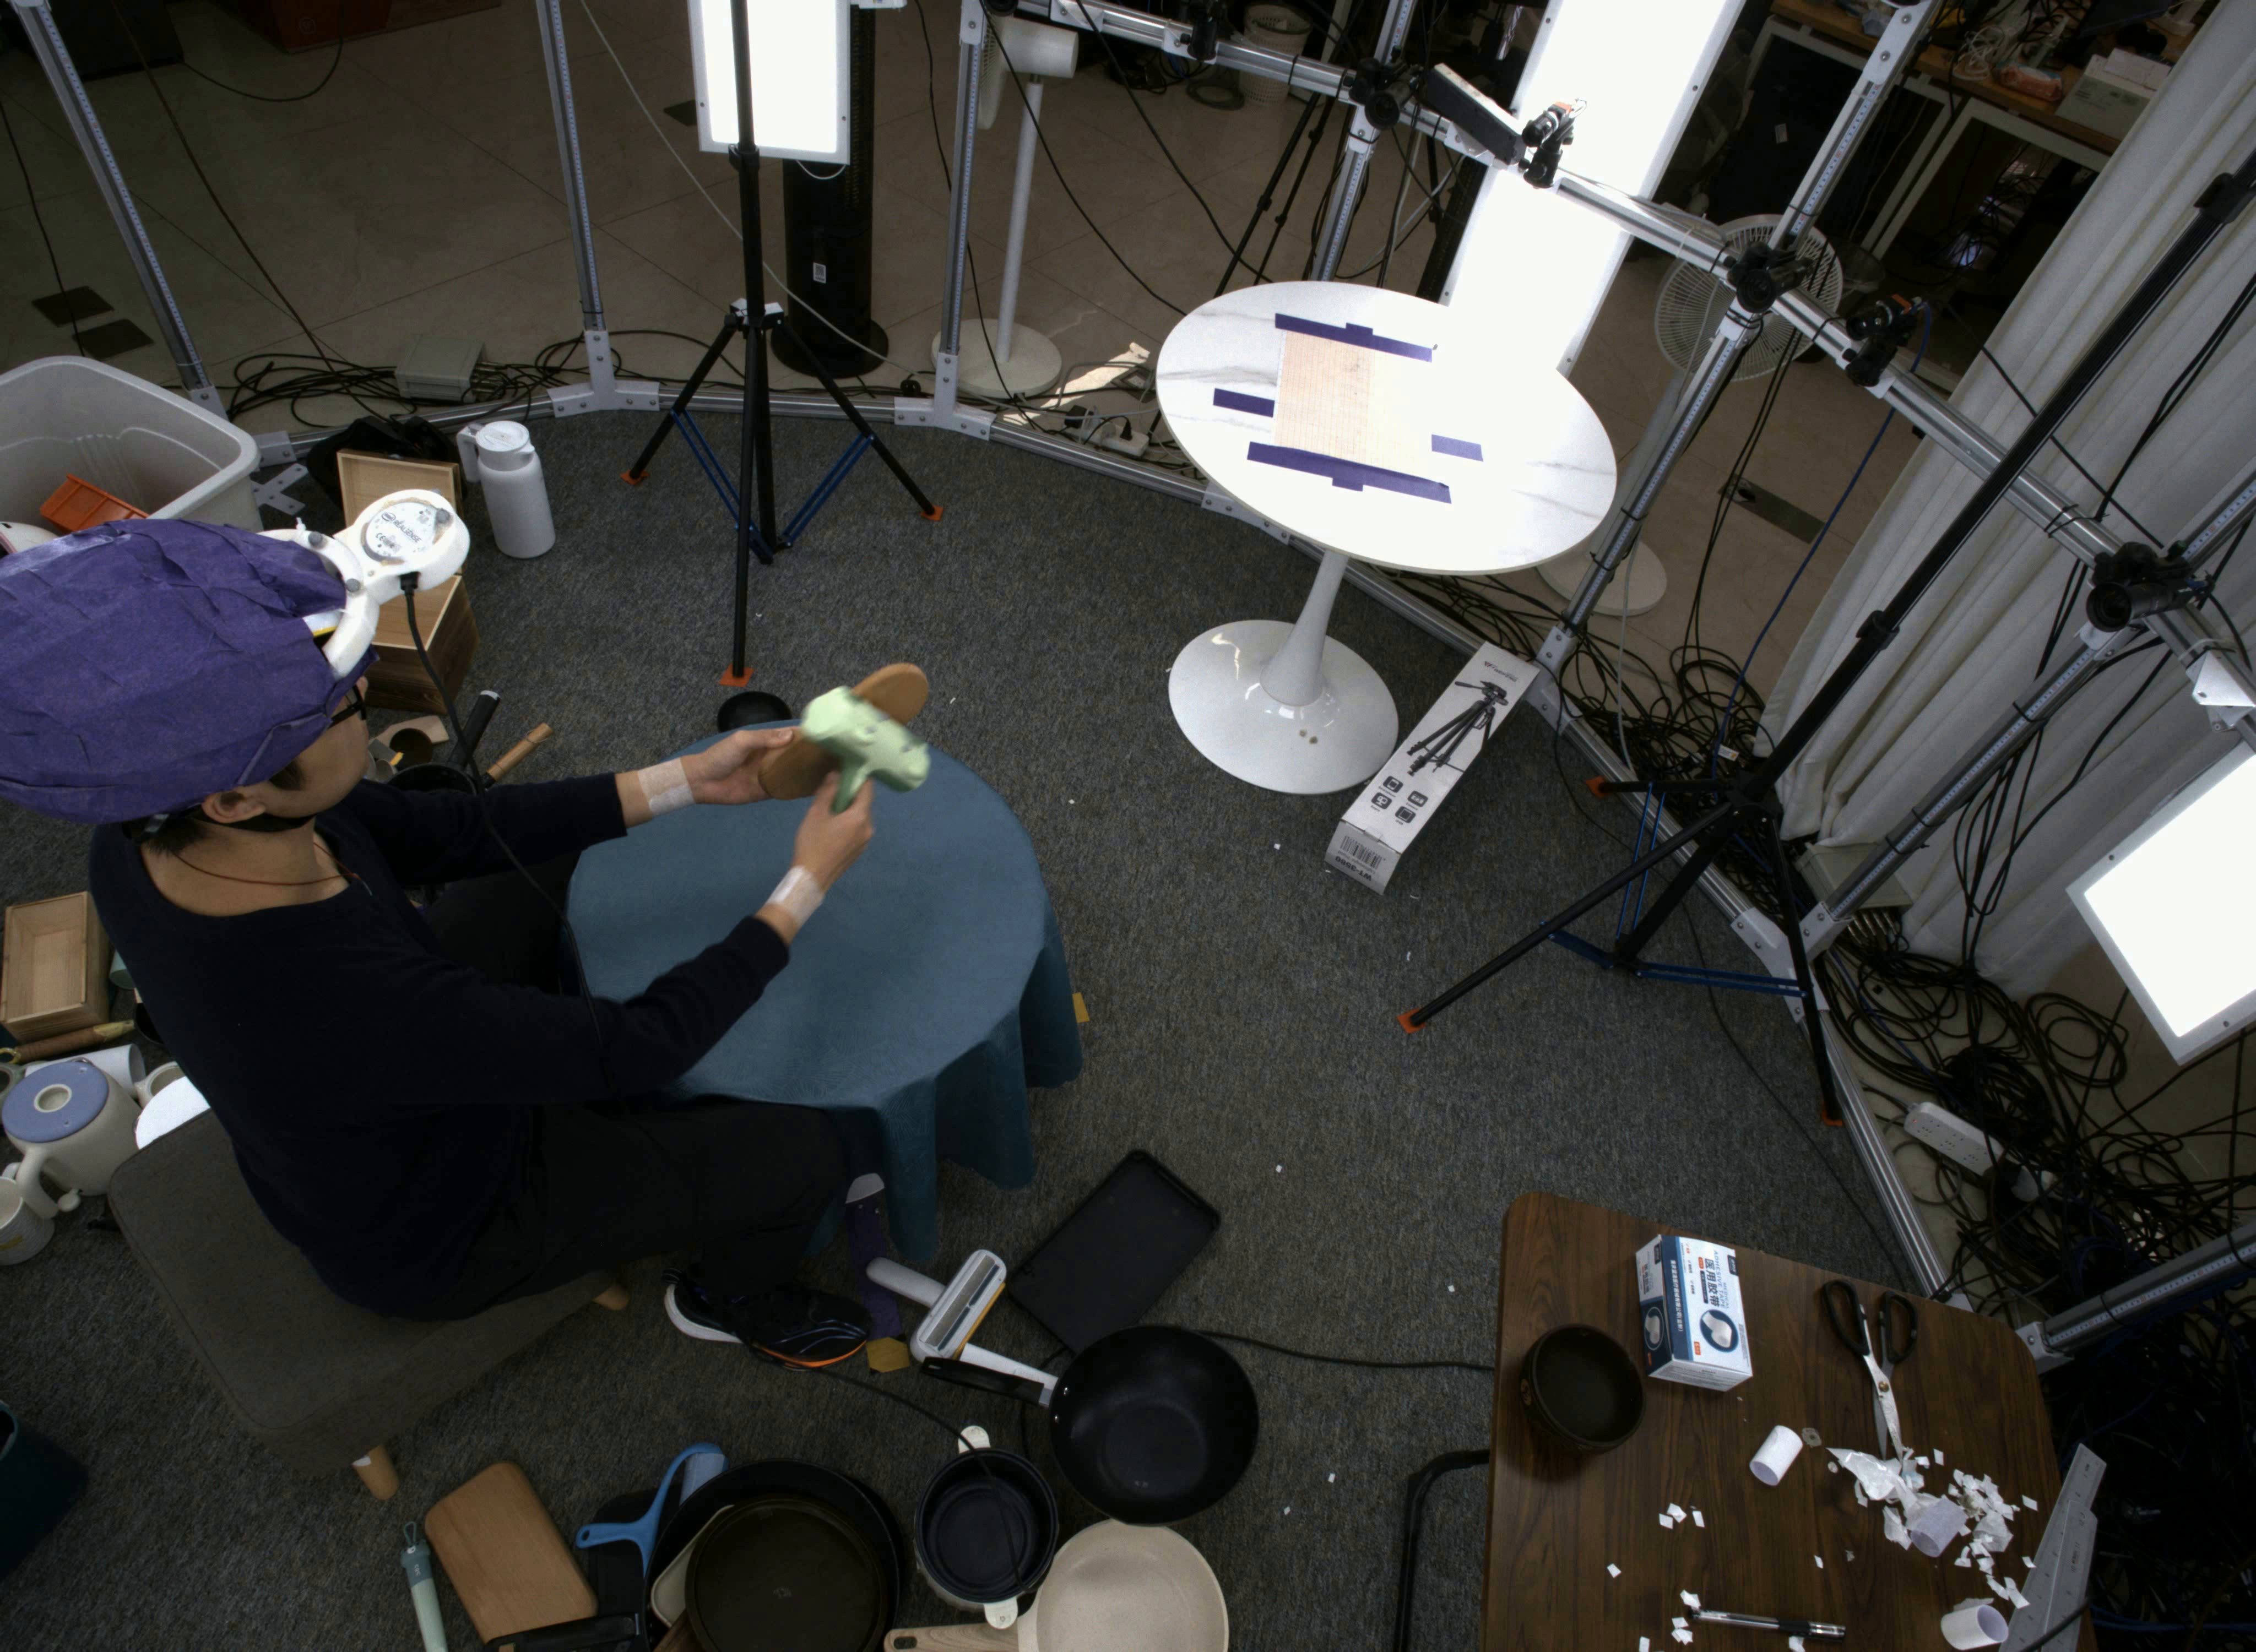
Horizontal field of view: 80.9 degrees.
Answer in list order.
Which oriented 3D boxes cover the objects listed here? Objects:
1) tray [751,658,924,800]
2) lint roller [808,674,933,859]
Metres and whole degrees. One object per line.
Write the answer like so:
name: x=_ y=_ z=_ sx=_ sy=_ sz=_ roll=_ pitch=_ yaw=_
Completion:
tray: x=-0.333 y=-0.110 z=1.497 sx=0.231 sy=0.105 sz=0.020 roll=-38 pitch=62 yaw=-7
lint roller: x=-0.295 y=-0.049 z=1.470 sx=0.080 sy=0.204 sz=0.183 roll=7 pitch=76 yaw=23
